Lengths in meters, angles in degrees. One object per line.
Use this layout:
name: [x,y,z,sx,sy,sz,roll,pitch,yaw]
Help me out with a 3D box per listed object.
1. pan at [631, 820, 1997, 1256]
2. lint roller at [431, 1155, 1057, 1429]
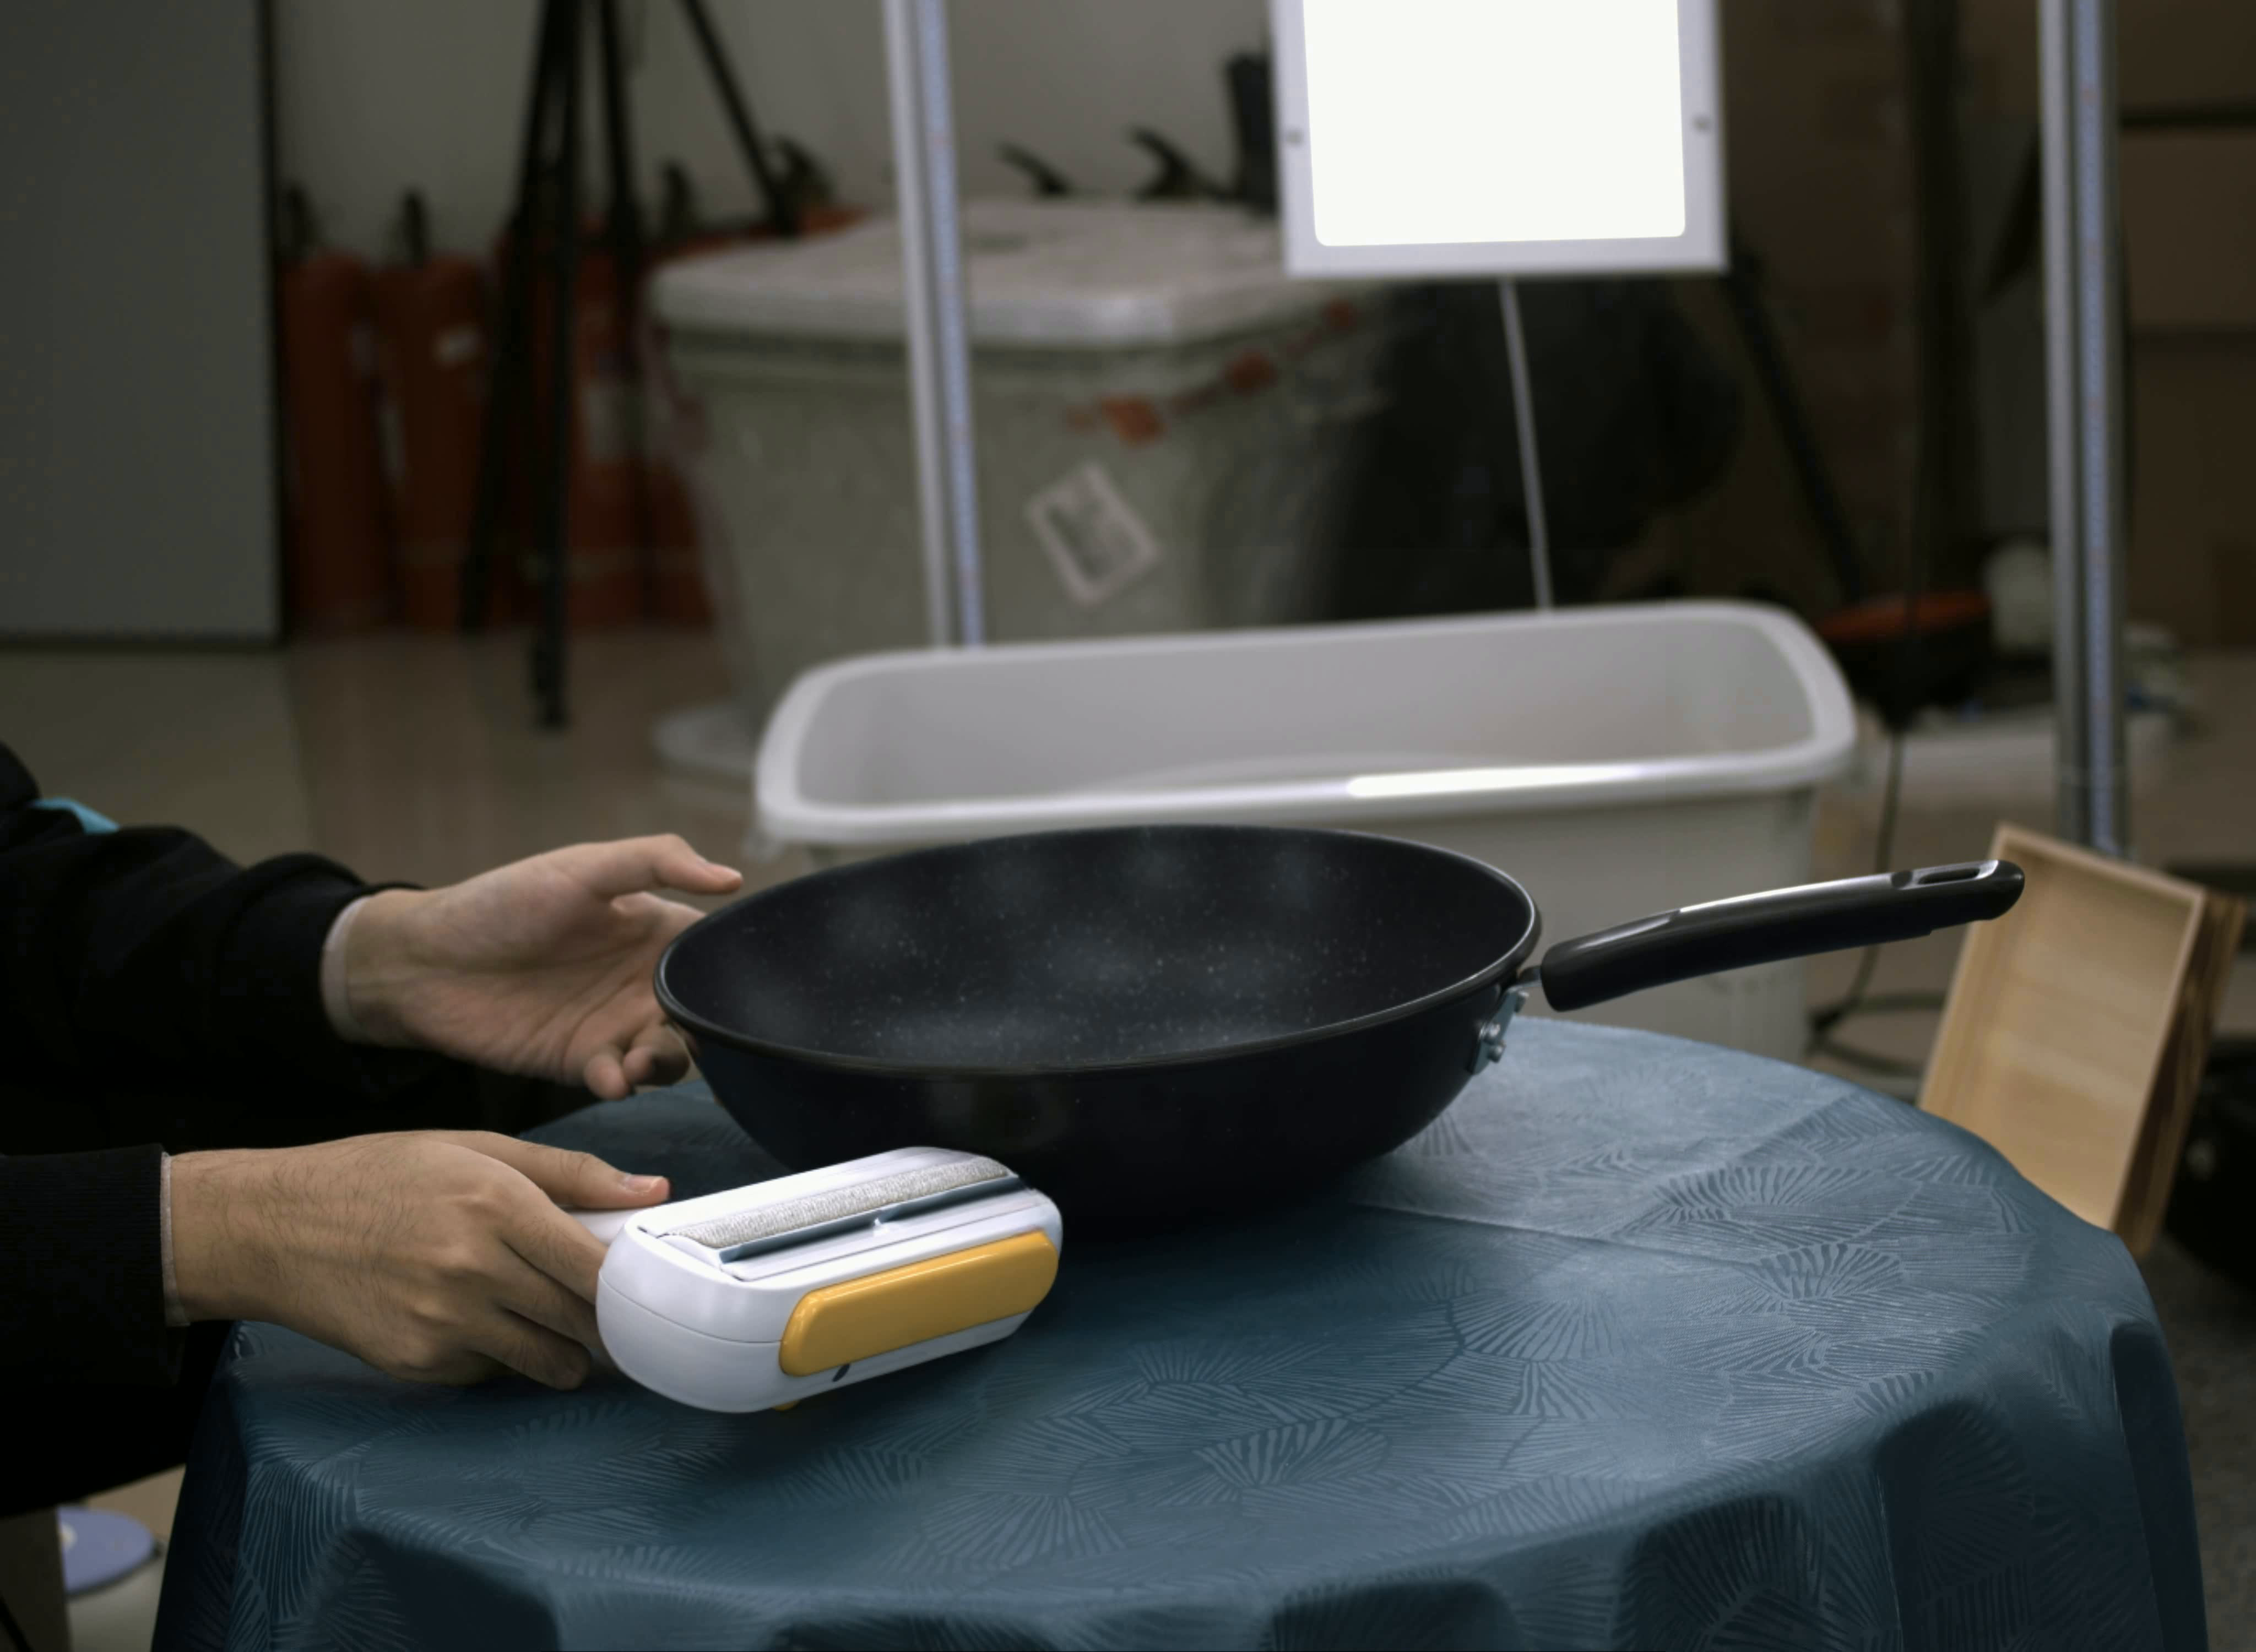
pan: [0.064,0.069,1.882,0.483,0.112,0.305,0,16,20]
lint roller: [-0.142,0.135,1.738,0.196,0.074,0.188,15,17,36]
